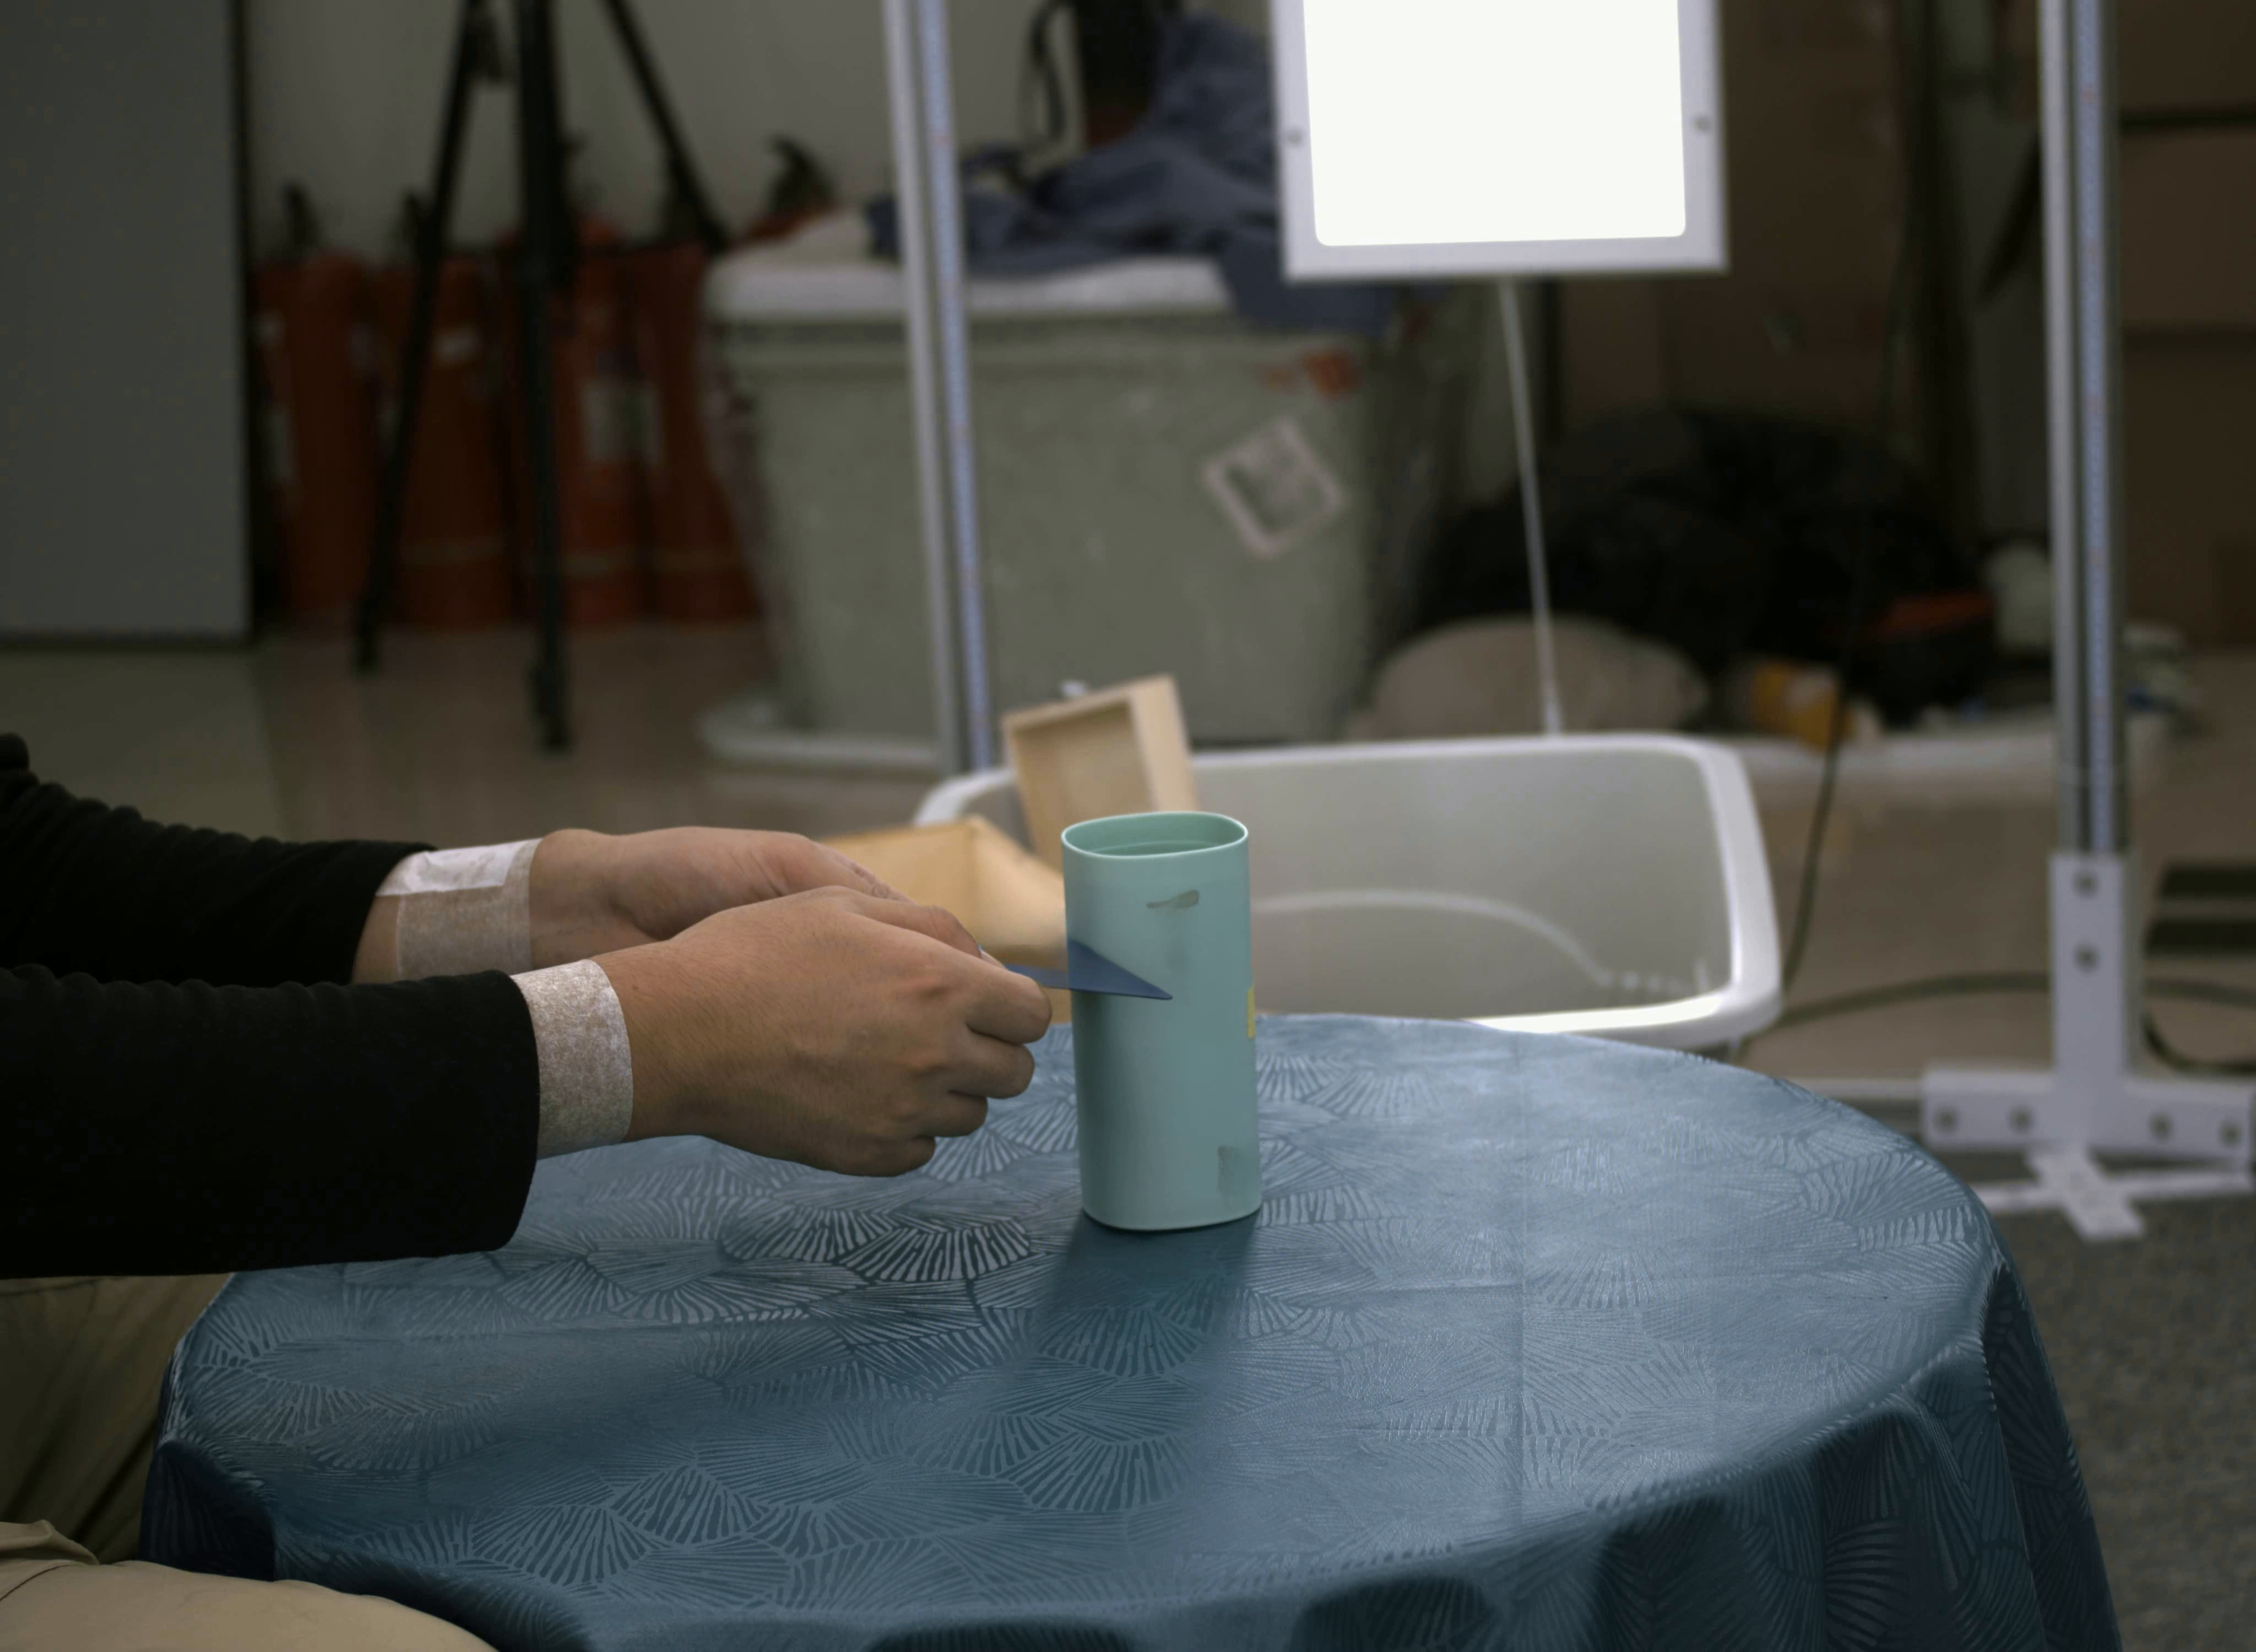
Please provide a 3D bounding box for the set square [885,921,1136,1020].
[{"bbox_3d":[-0.042,0.050,1.808,0.060,0.006,0.133,-10,15,-15],"label":"set square"}]

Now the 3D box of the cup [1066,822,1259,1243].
[{"bbox_3d":[0.011,0.069,1.865,0.066,0.133,0.066,-2,13,-1],"label":"cup"}]
